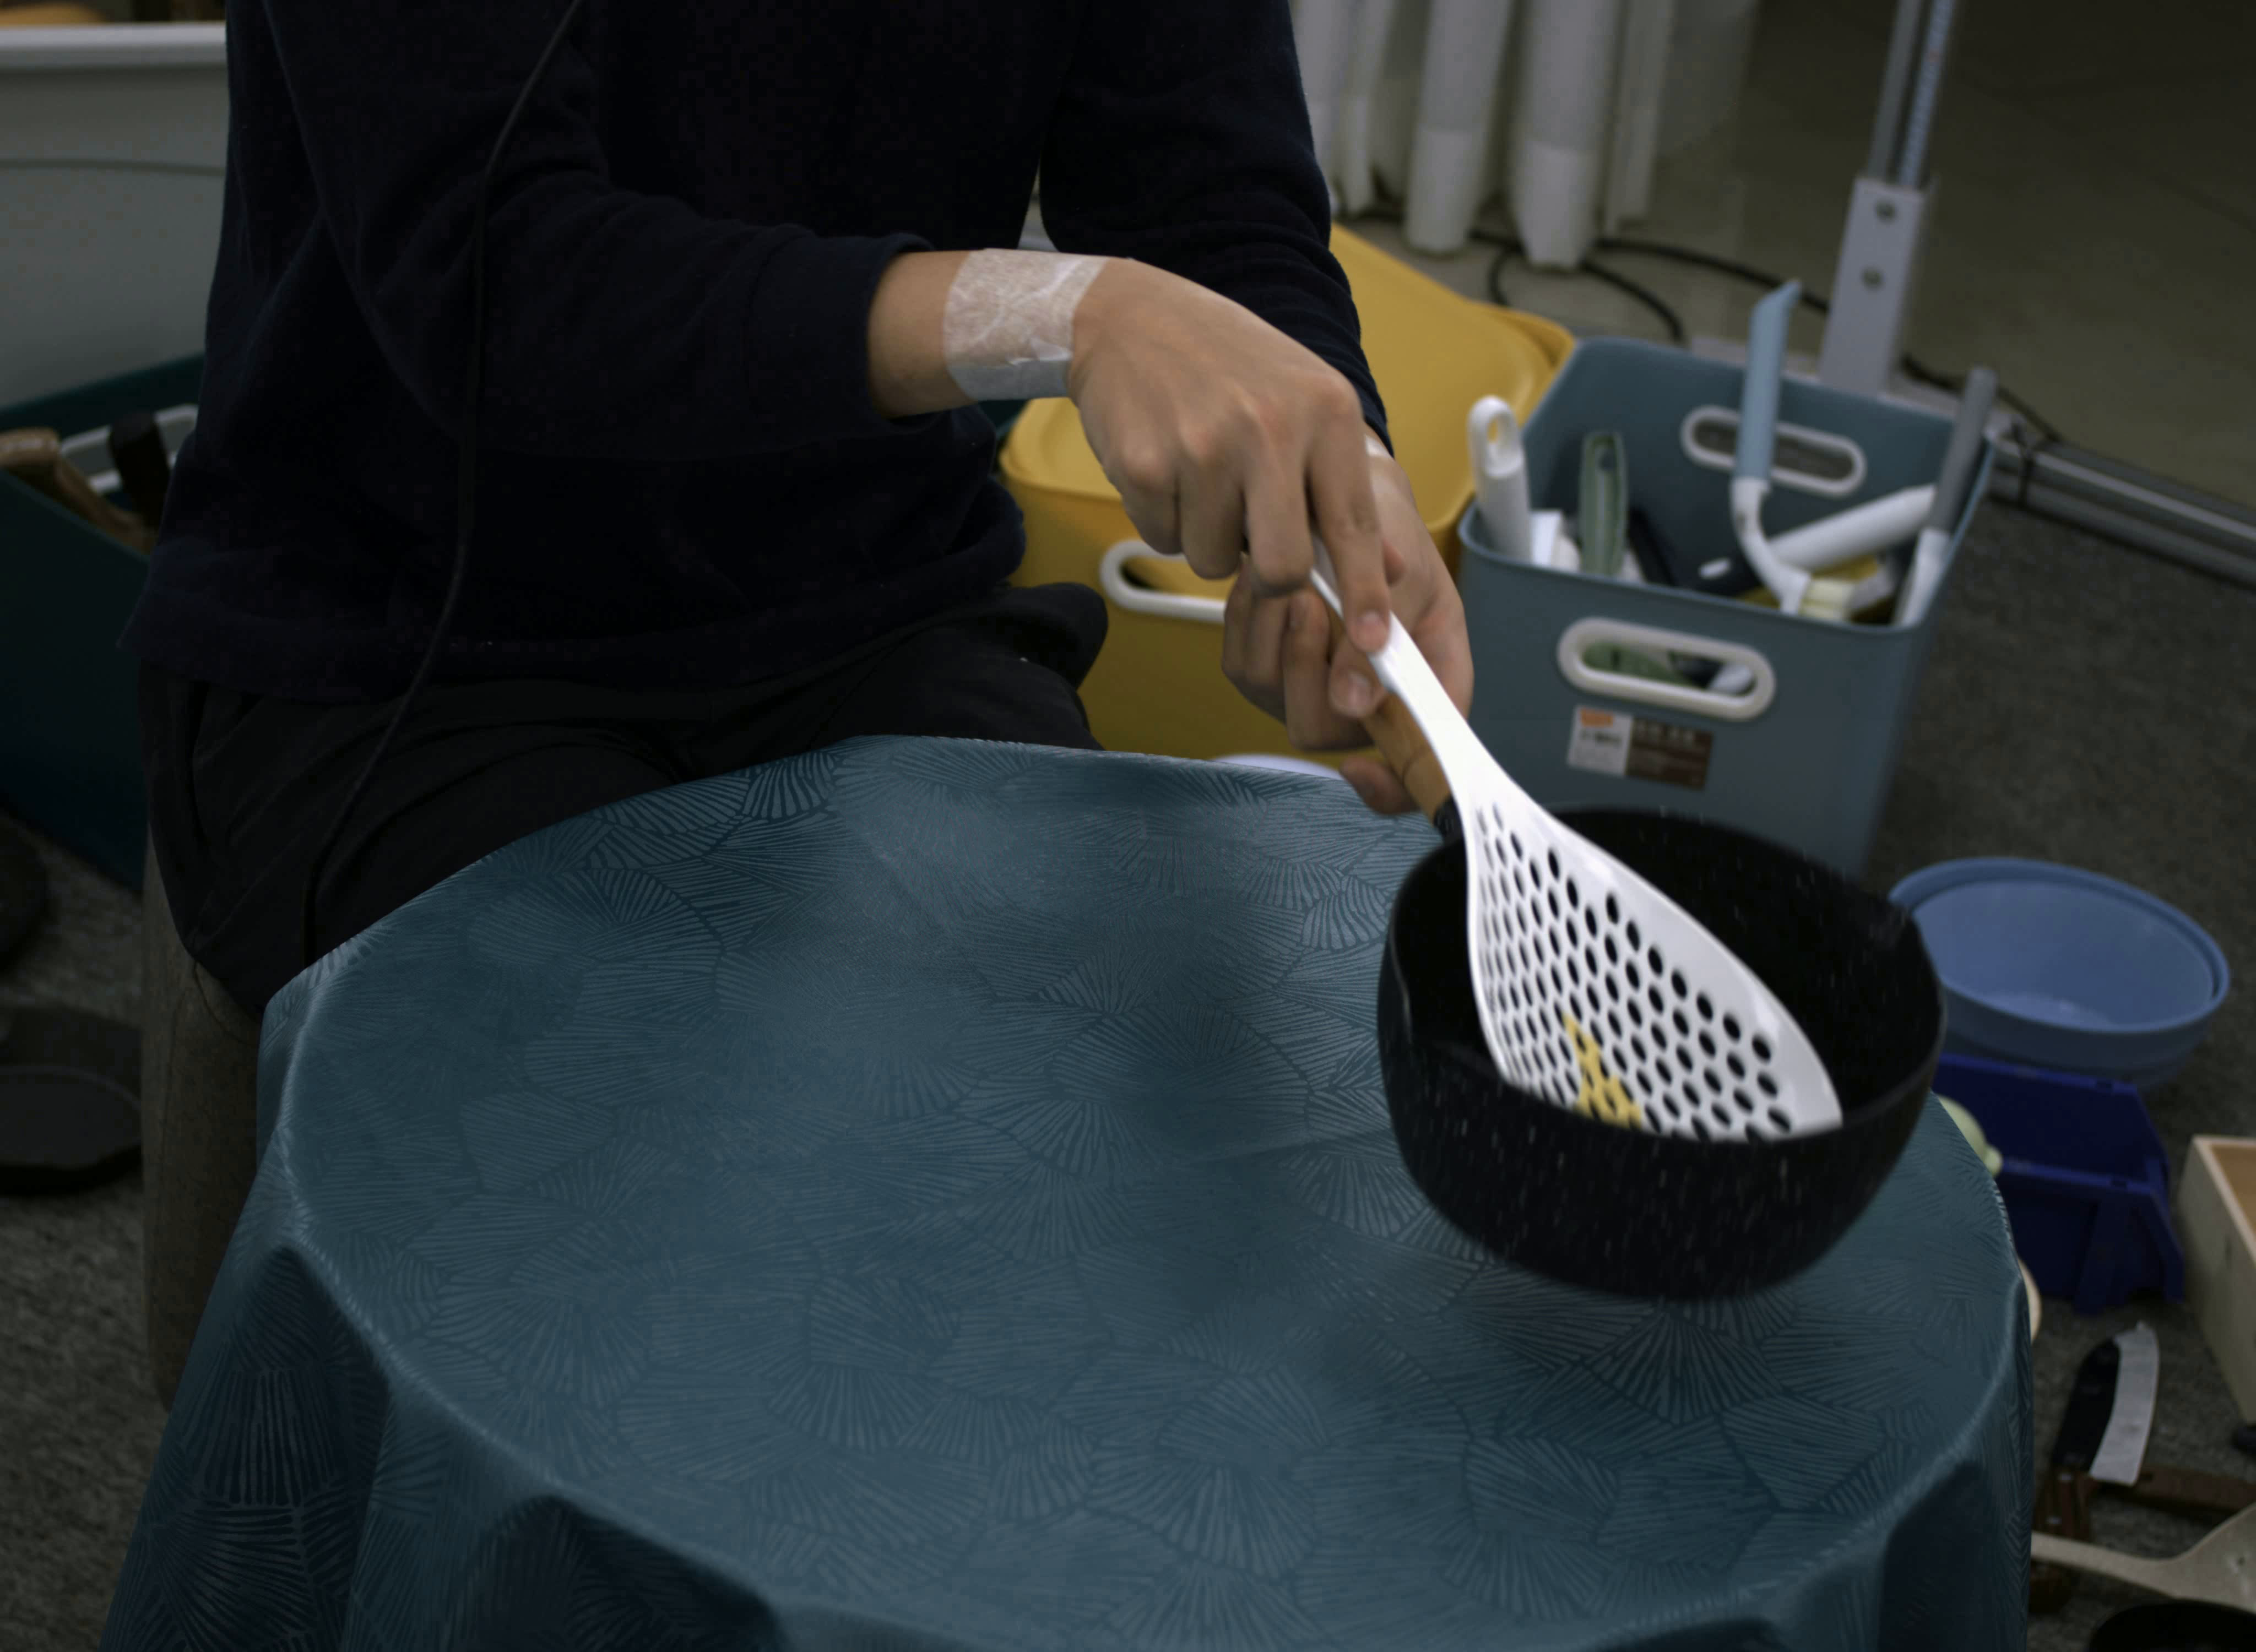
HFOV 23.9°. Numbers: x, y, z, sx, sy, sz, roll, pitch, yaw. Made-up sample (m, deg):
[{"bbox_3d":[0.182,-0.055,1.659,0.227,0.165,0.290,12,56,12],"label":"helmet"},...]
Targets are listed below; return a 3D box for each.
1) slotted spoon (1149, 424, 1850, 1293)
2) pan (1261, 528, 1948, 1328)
[{"bbox_3d":[0.114,0.003,1.760,0.136,0.050,0.349,-23,80,-42],"label":"slotted spoon"},{"bbox_3d":[0.130,0.032,1.792,0.206,0.108,0.346,-13,41,-28],"label":"pan"}]
